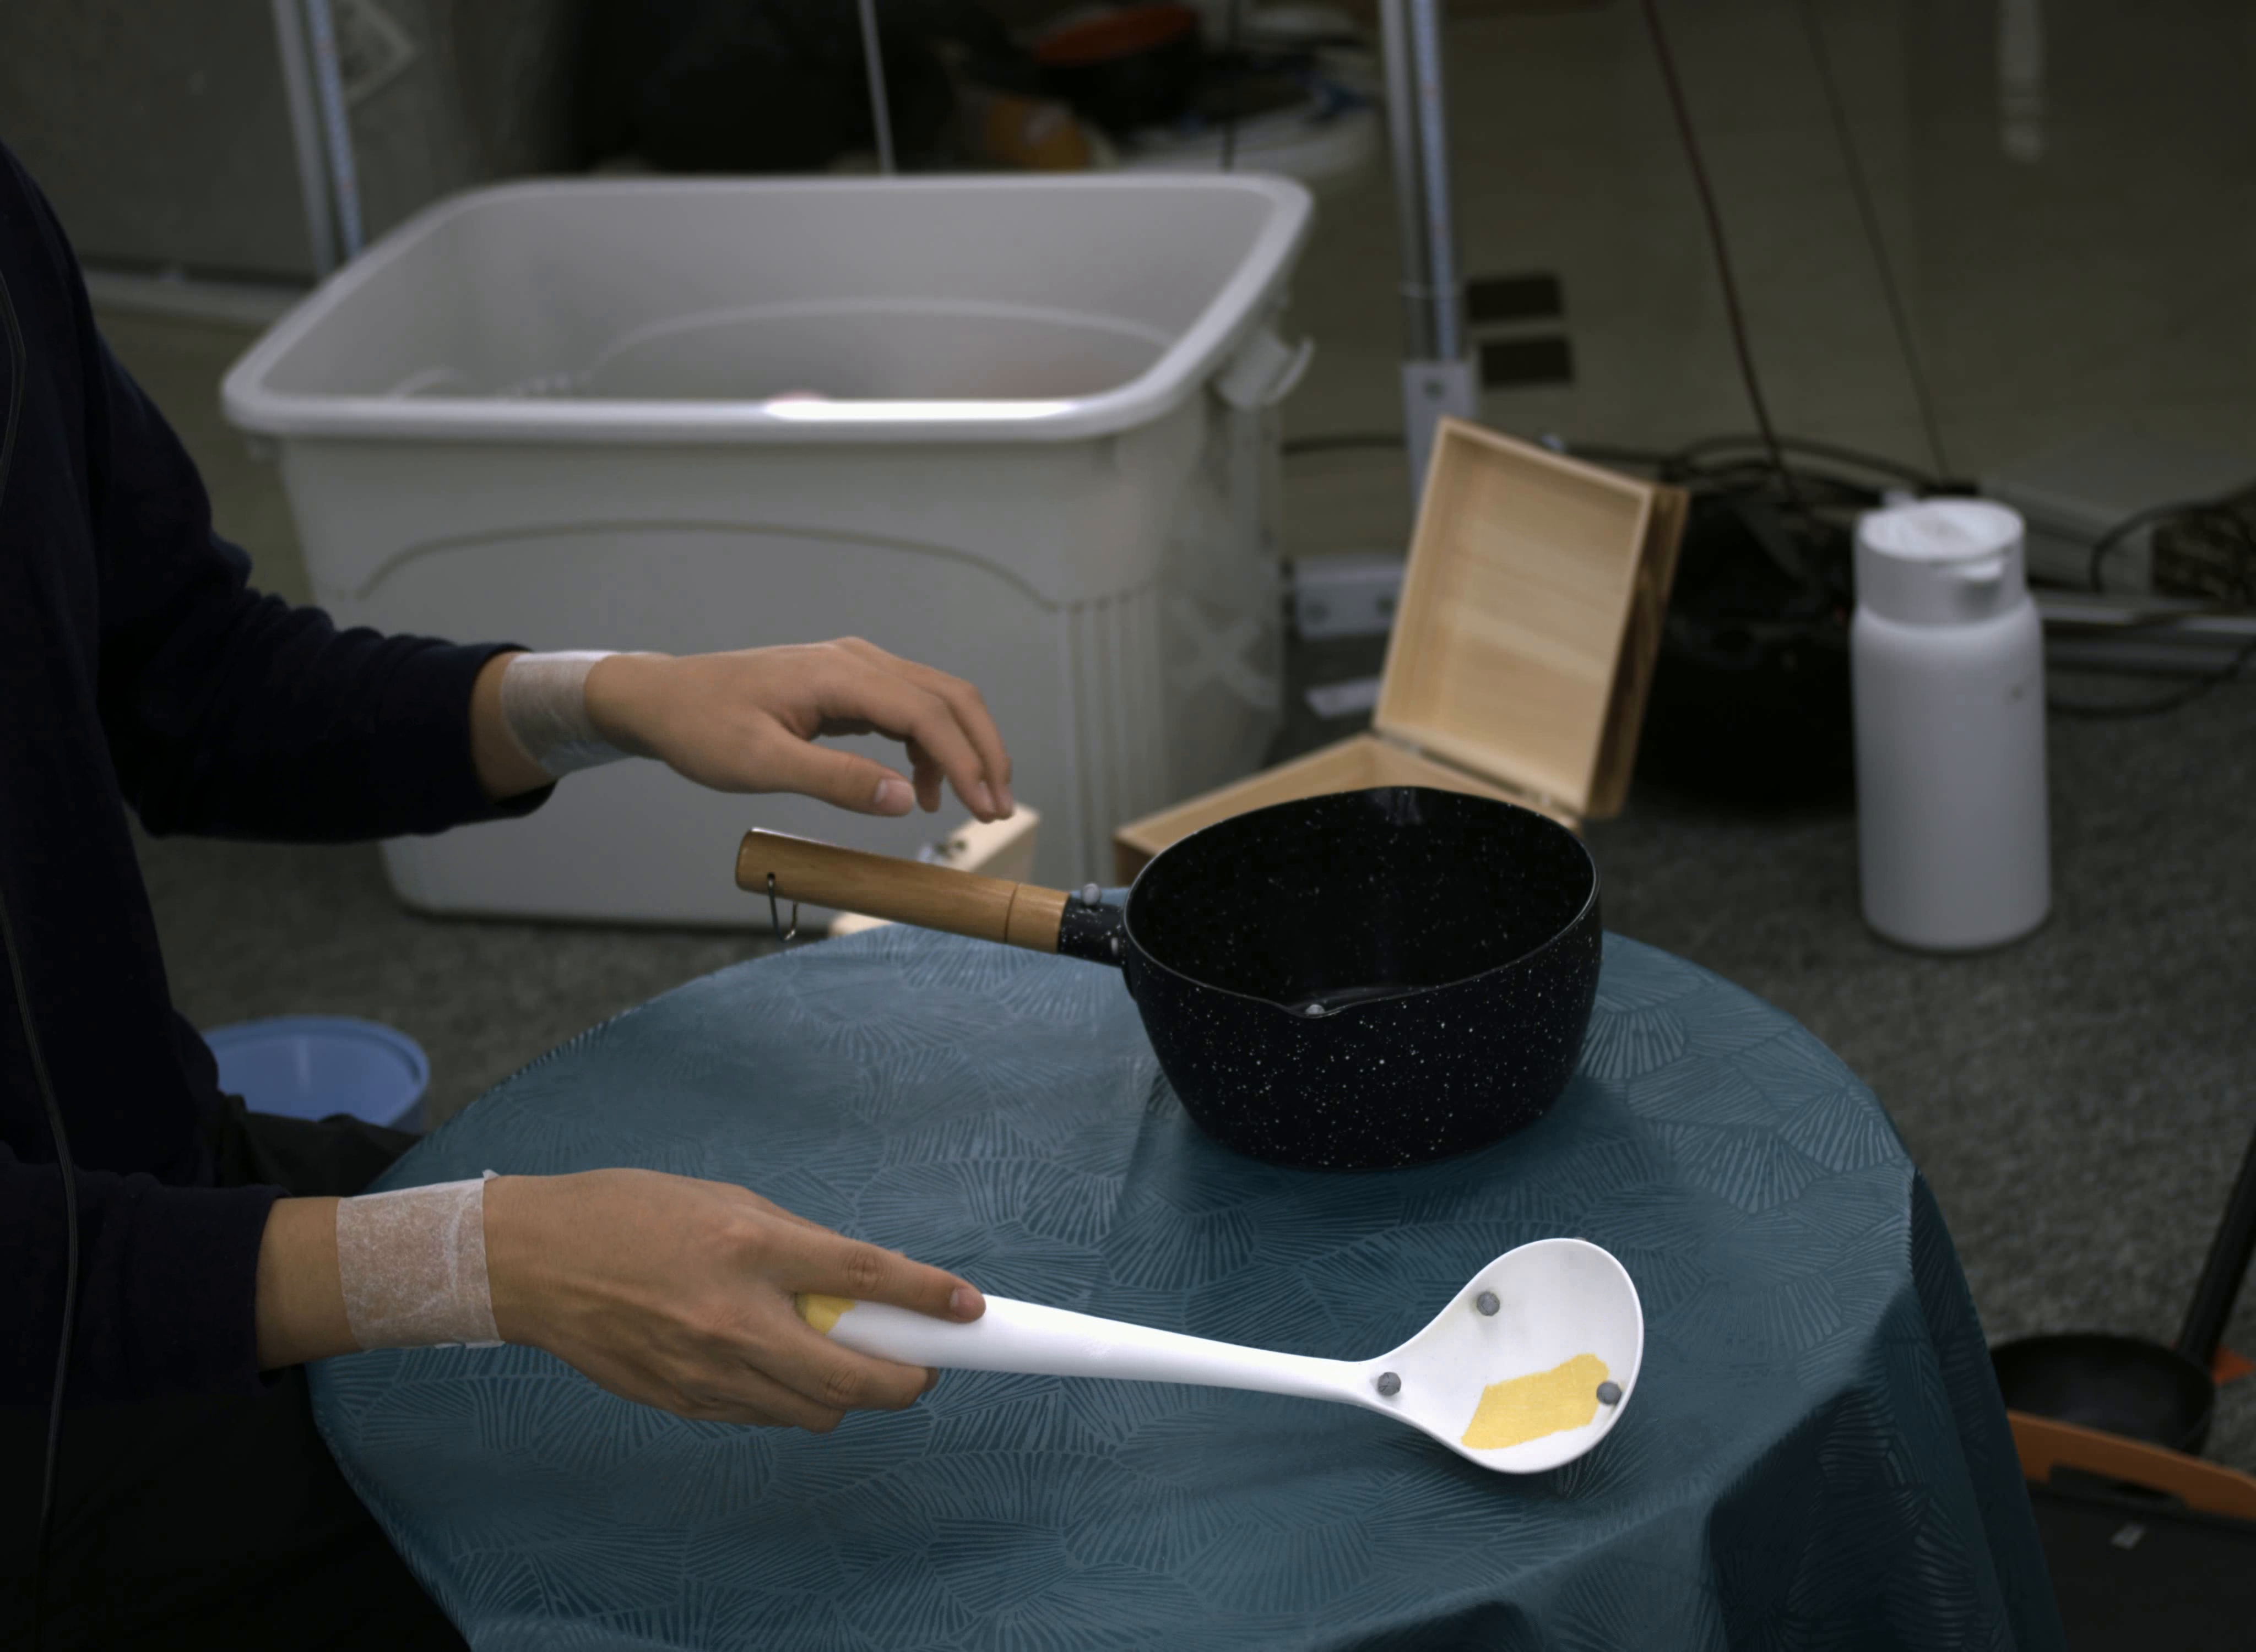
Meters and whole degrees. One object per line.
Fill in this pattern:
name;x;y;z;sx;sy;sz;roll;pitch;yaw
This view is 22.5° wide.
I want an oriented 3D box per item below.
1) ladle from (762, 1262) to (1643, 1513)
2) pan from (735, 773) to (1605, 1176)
ladle;0.024;0.180;1.924;0.293;0.071;0.089;7;66;-6
pan;0.015;0.052;2.199;0.342;0.110;0.204;1;27;12
